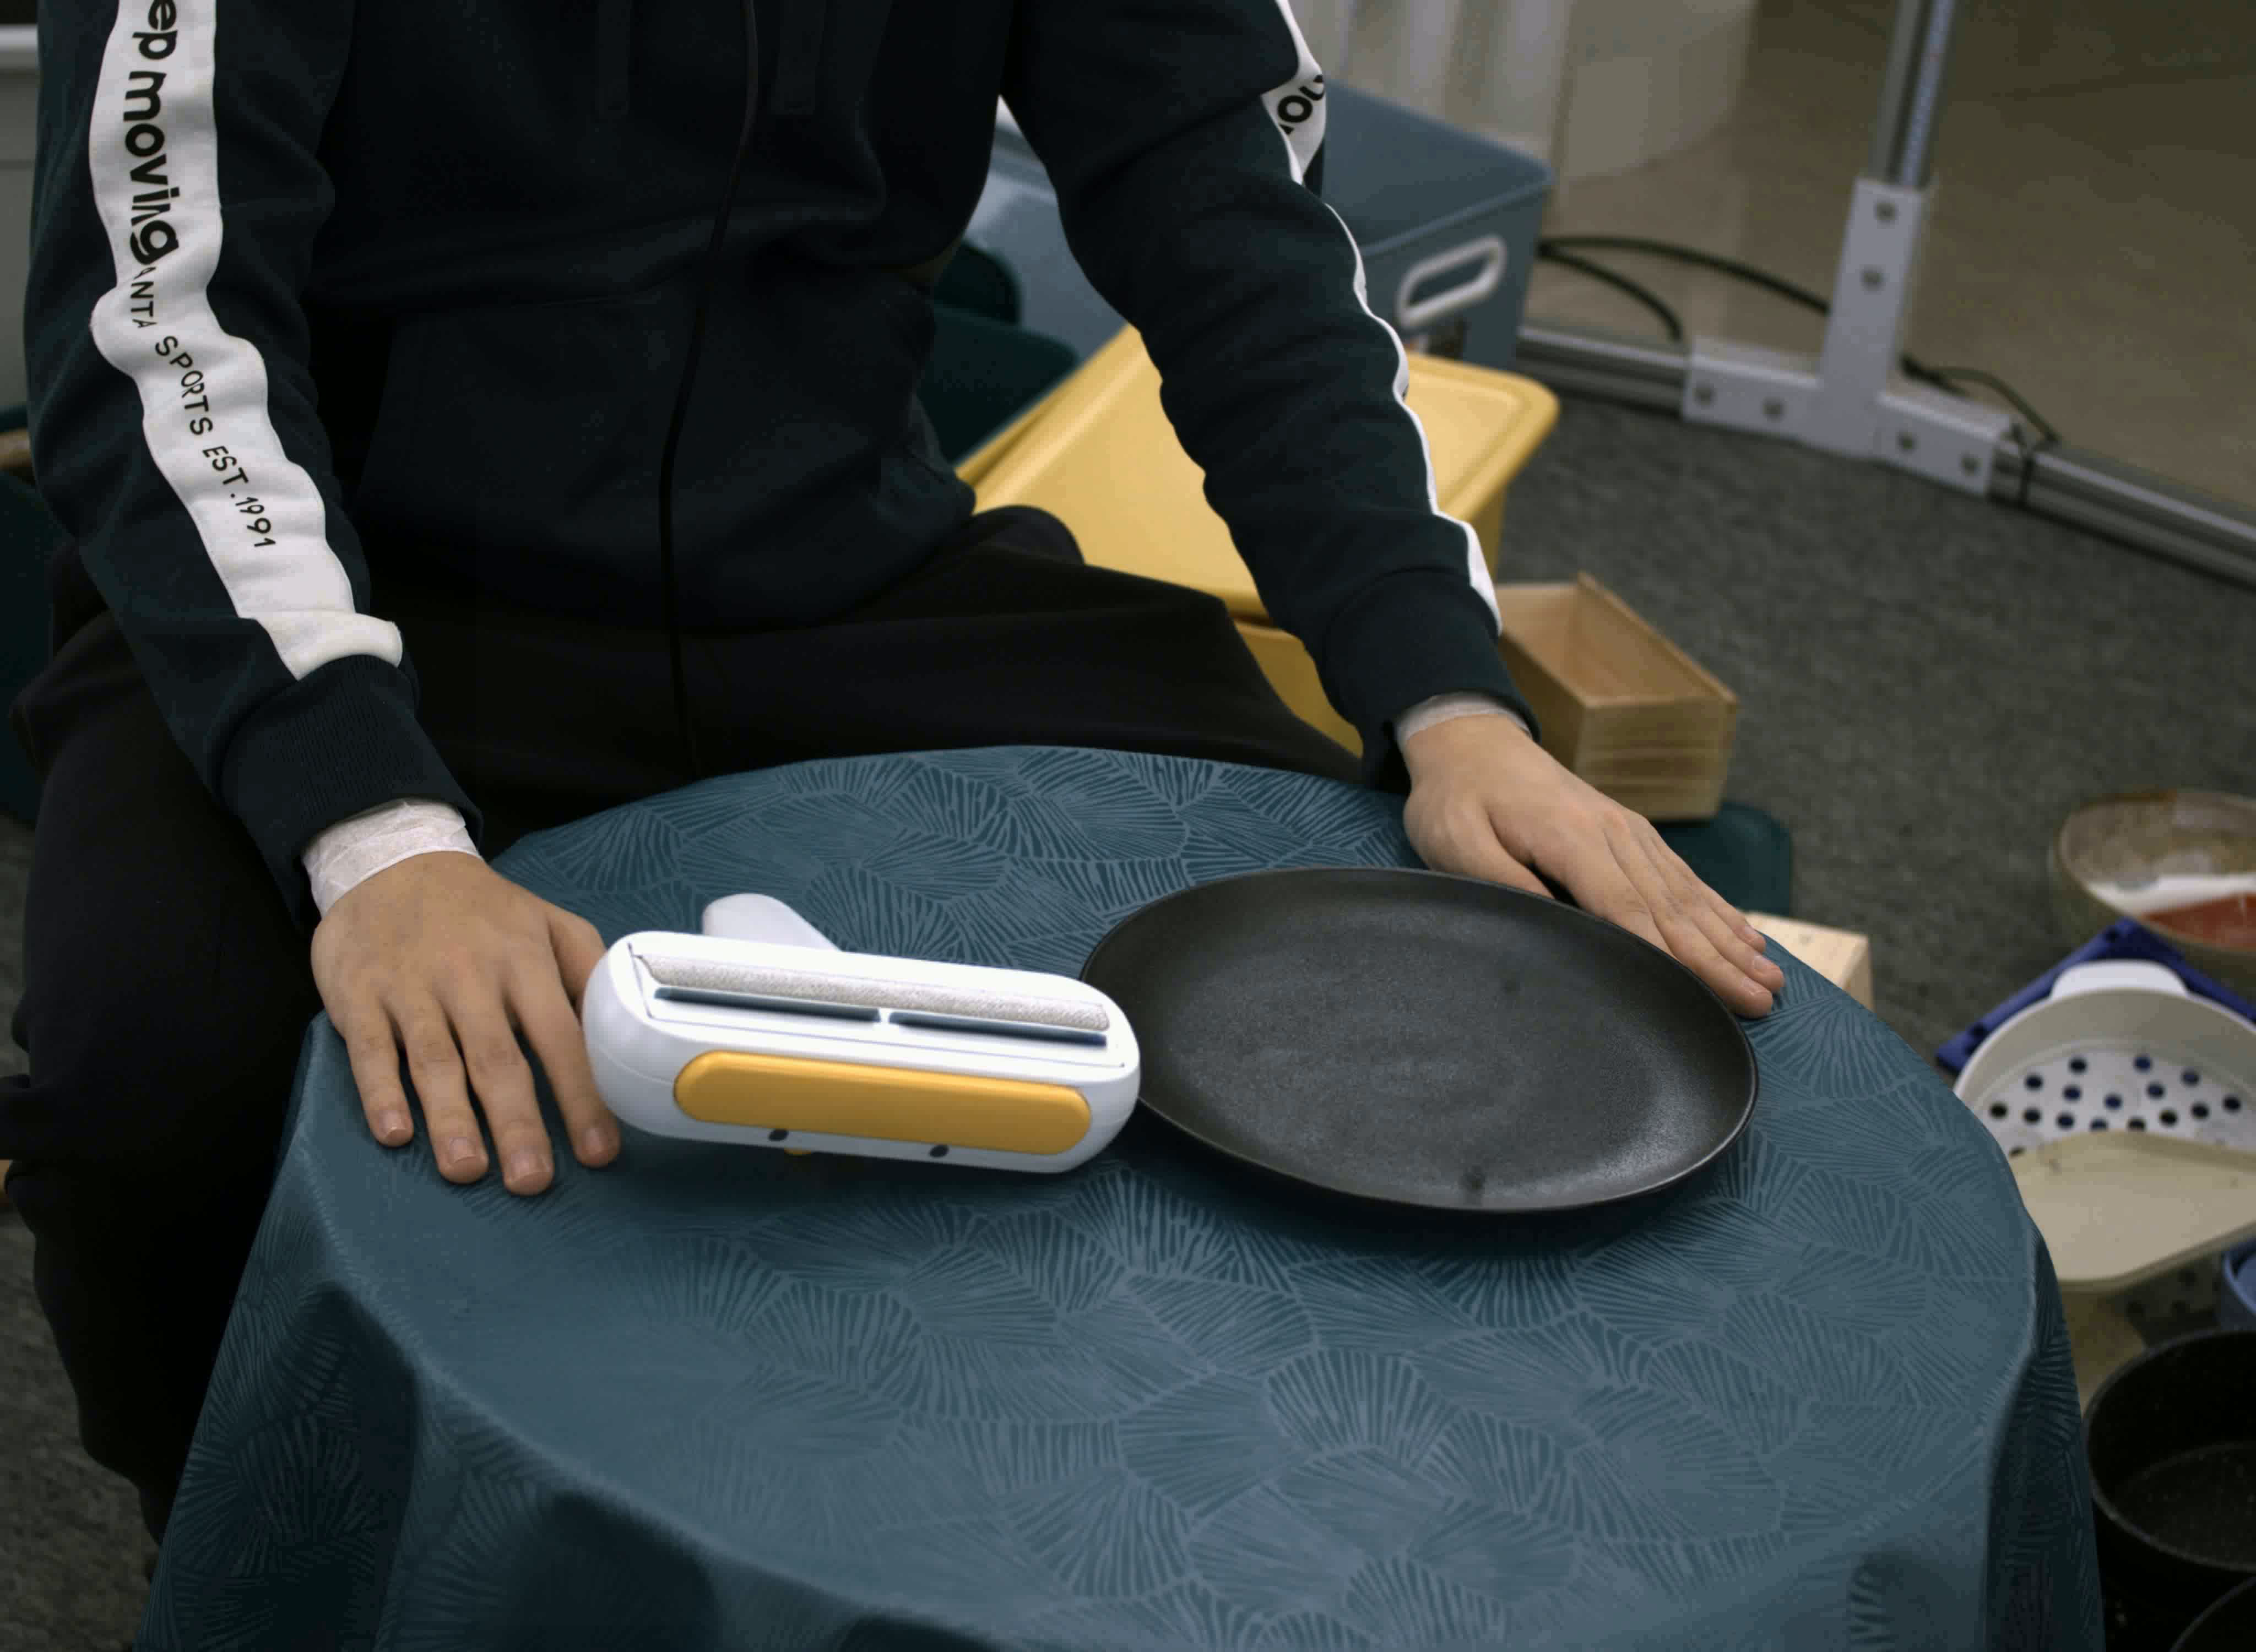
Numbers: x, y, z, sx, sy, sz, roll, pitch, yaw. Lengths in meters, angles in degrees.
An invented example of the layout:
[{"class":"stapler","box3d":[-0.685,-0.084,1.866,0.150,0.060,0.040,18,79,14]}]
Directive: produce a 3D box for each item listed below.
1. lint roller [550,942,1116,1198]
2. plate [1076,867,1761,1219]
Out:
[{"class":"lint roller","box3d":[-0.112,0.075,1.837,0.191,0.074,0.193,7,11,-15]},{"class":"plate","box3d":[0.101,0.081,1.880,0.243,0.023,0.246,5,27,-3]}]
